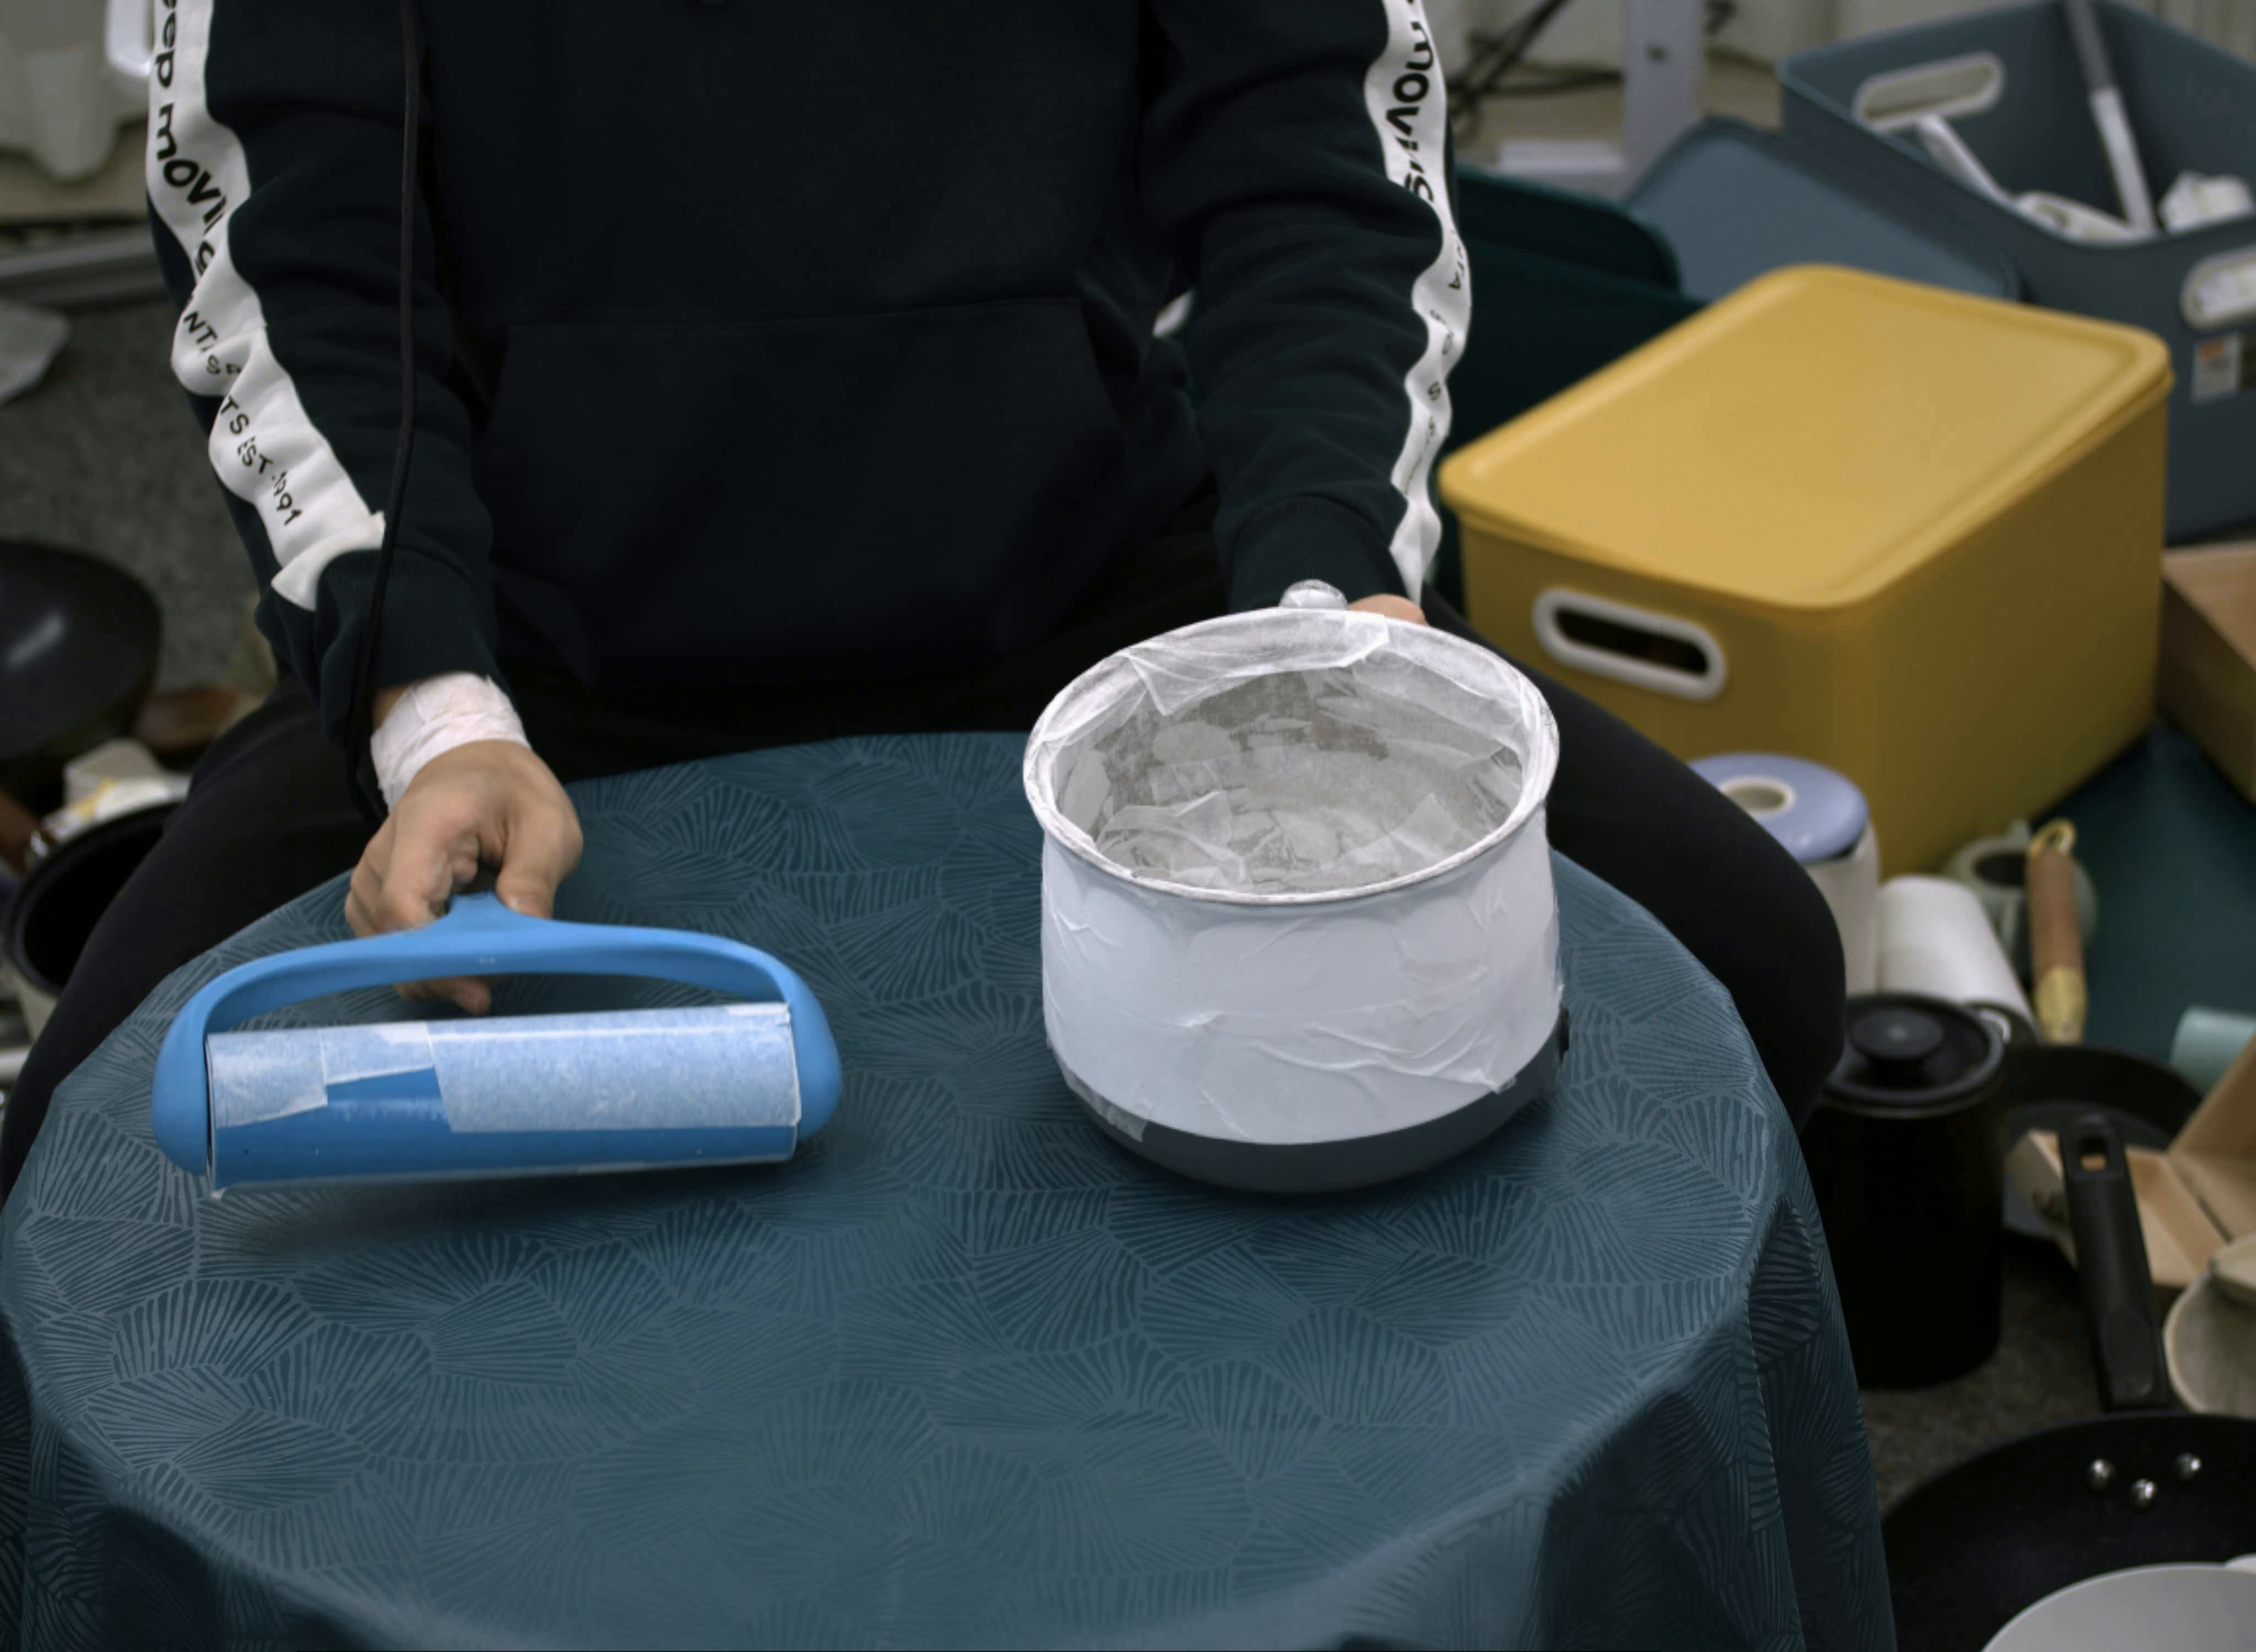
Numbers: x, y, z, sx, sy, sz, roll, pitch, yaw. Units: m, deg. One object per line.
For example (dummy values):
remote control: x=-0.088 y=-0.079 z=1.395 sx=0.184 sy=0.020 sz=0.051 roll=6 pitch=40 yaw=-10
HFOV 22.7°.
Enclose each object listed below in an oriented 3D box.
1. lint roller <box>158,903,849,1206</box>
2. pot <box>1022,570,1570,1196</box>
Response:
lint roller: x=-0.221 y=0.062 z=1.903 sx=0.229 sy=0.067 sz=0.182 roll=-6 pitch=30 yaw=-15
pot: x=0.059 y=0.011 z=1.900 sx=0.177 sy=0.135 sz=0.238 roll=0 pitch=34 yaw=5
